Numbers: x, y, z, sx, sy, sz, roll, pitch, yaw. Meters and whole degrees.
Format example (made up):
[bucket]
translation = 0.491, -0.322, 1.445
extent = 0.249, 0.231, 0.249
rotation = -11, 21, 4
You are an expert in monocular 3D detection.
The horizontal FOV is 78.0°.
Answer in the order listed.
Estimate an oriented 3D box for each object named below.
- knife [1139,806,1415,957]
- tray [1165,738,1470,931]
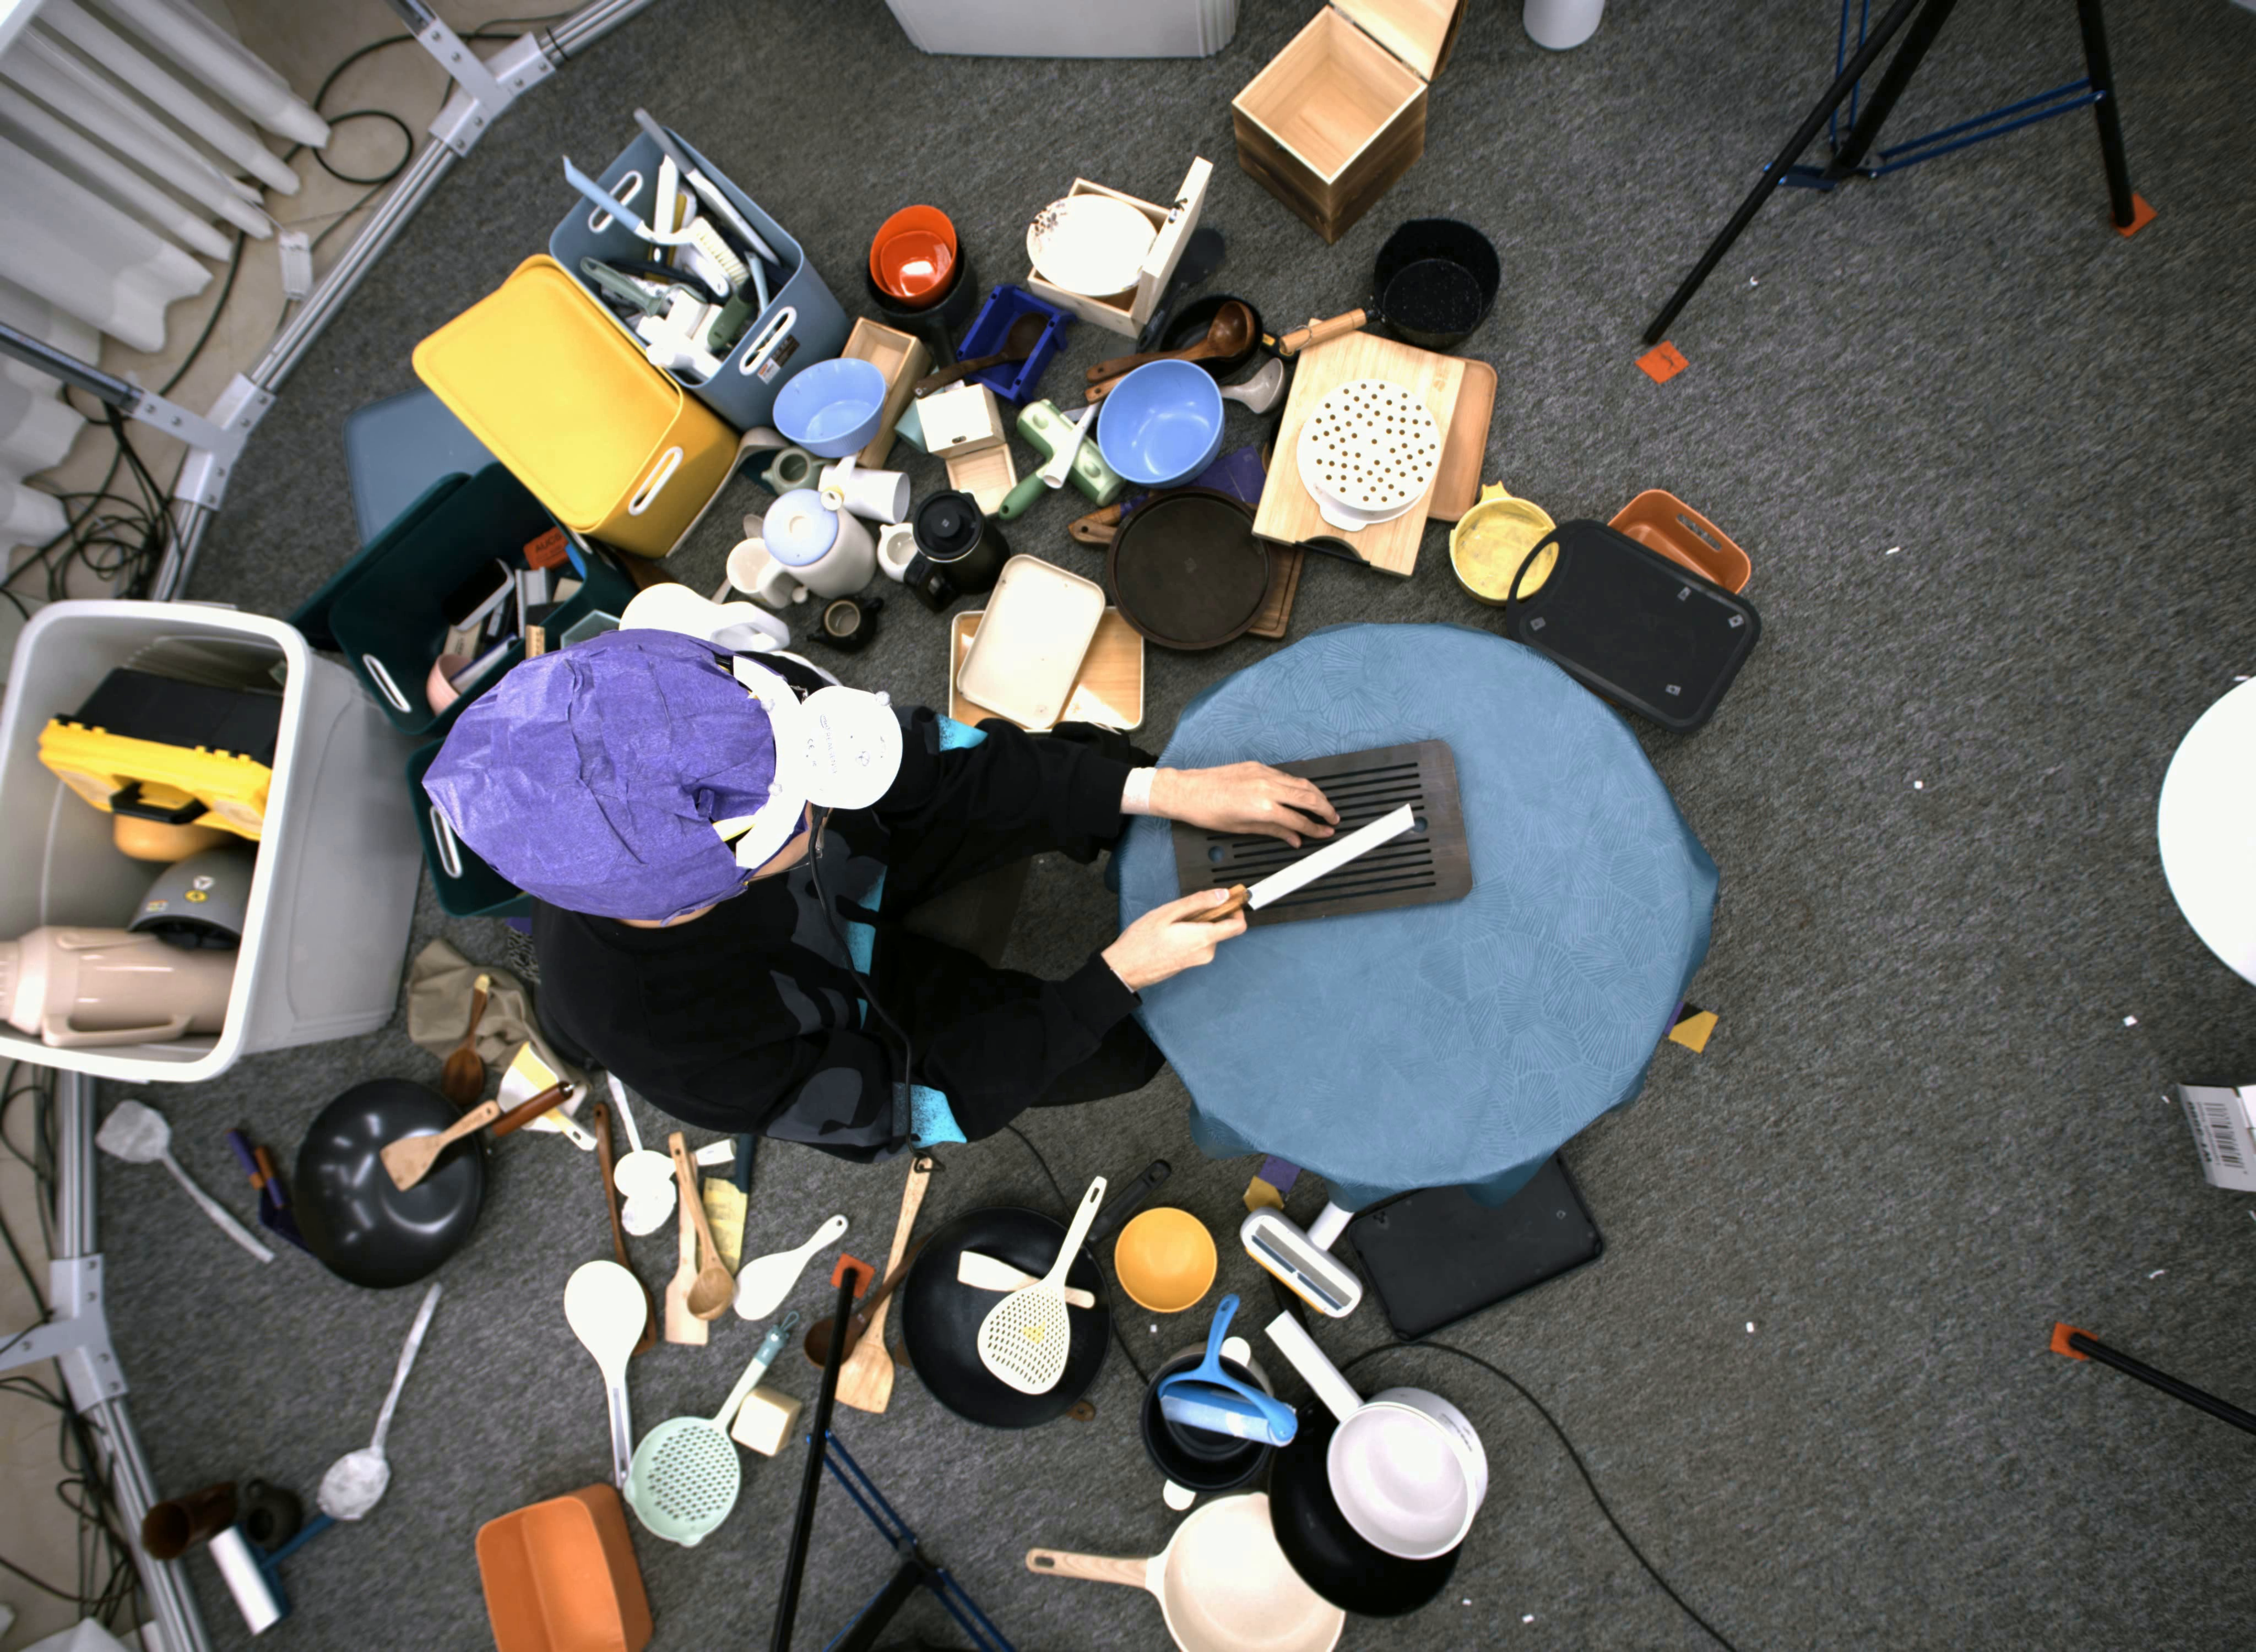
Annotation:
[knife]
translation = 0.155, 0.060, 1.415
extent = 0.307, 0.093, 0.021
rotation = -28, 70, 8
[tray]
translation = 0.199, 0.009, 1.467
extent = 0.307, 0.018, 0.169
rotation = -8, 85, 10
